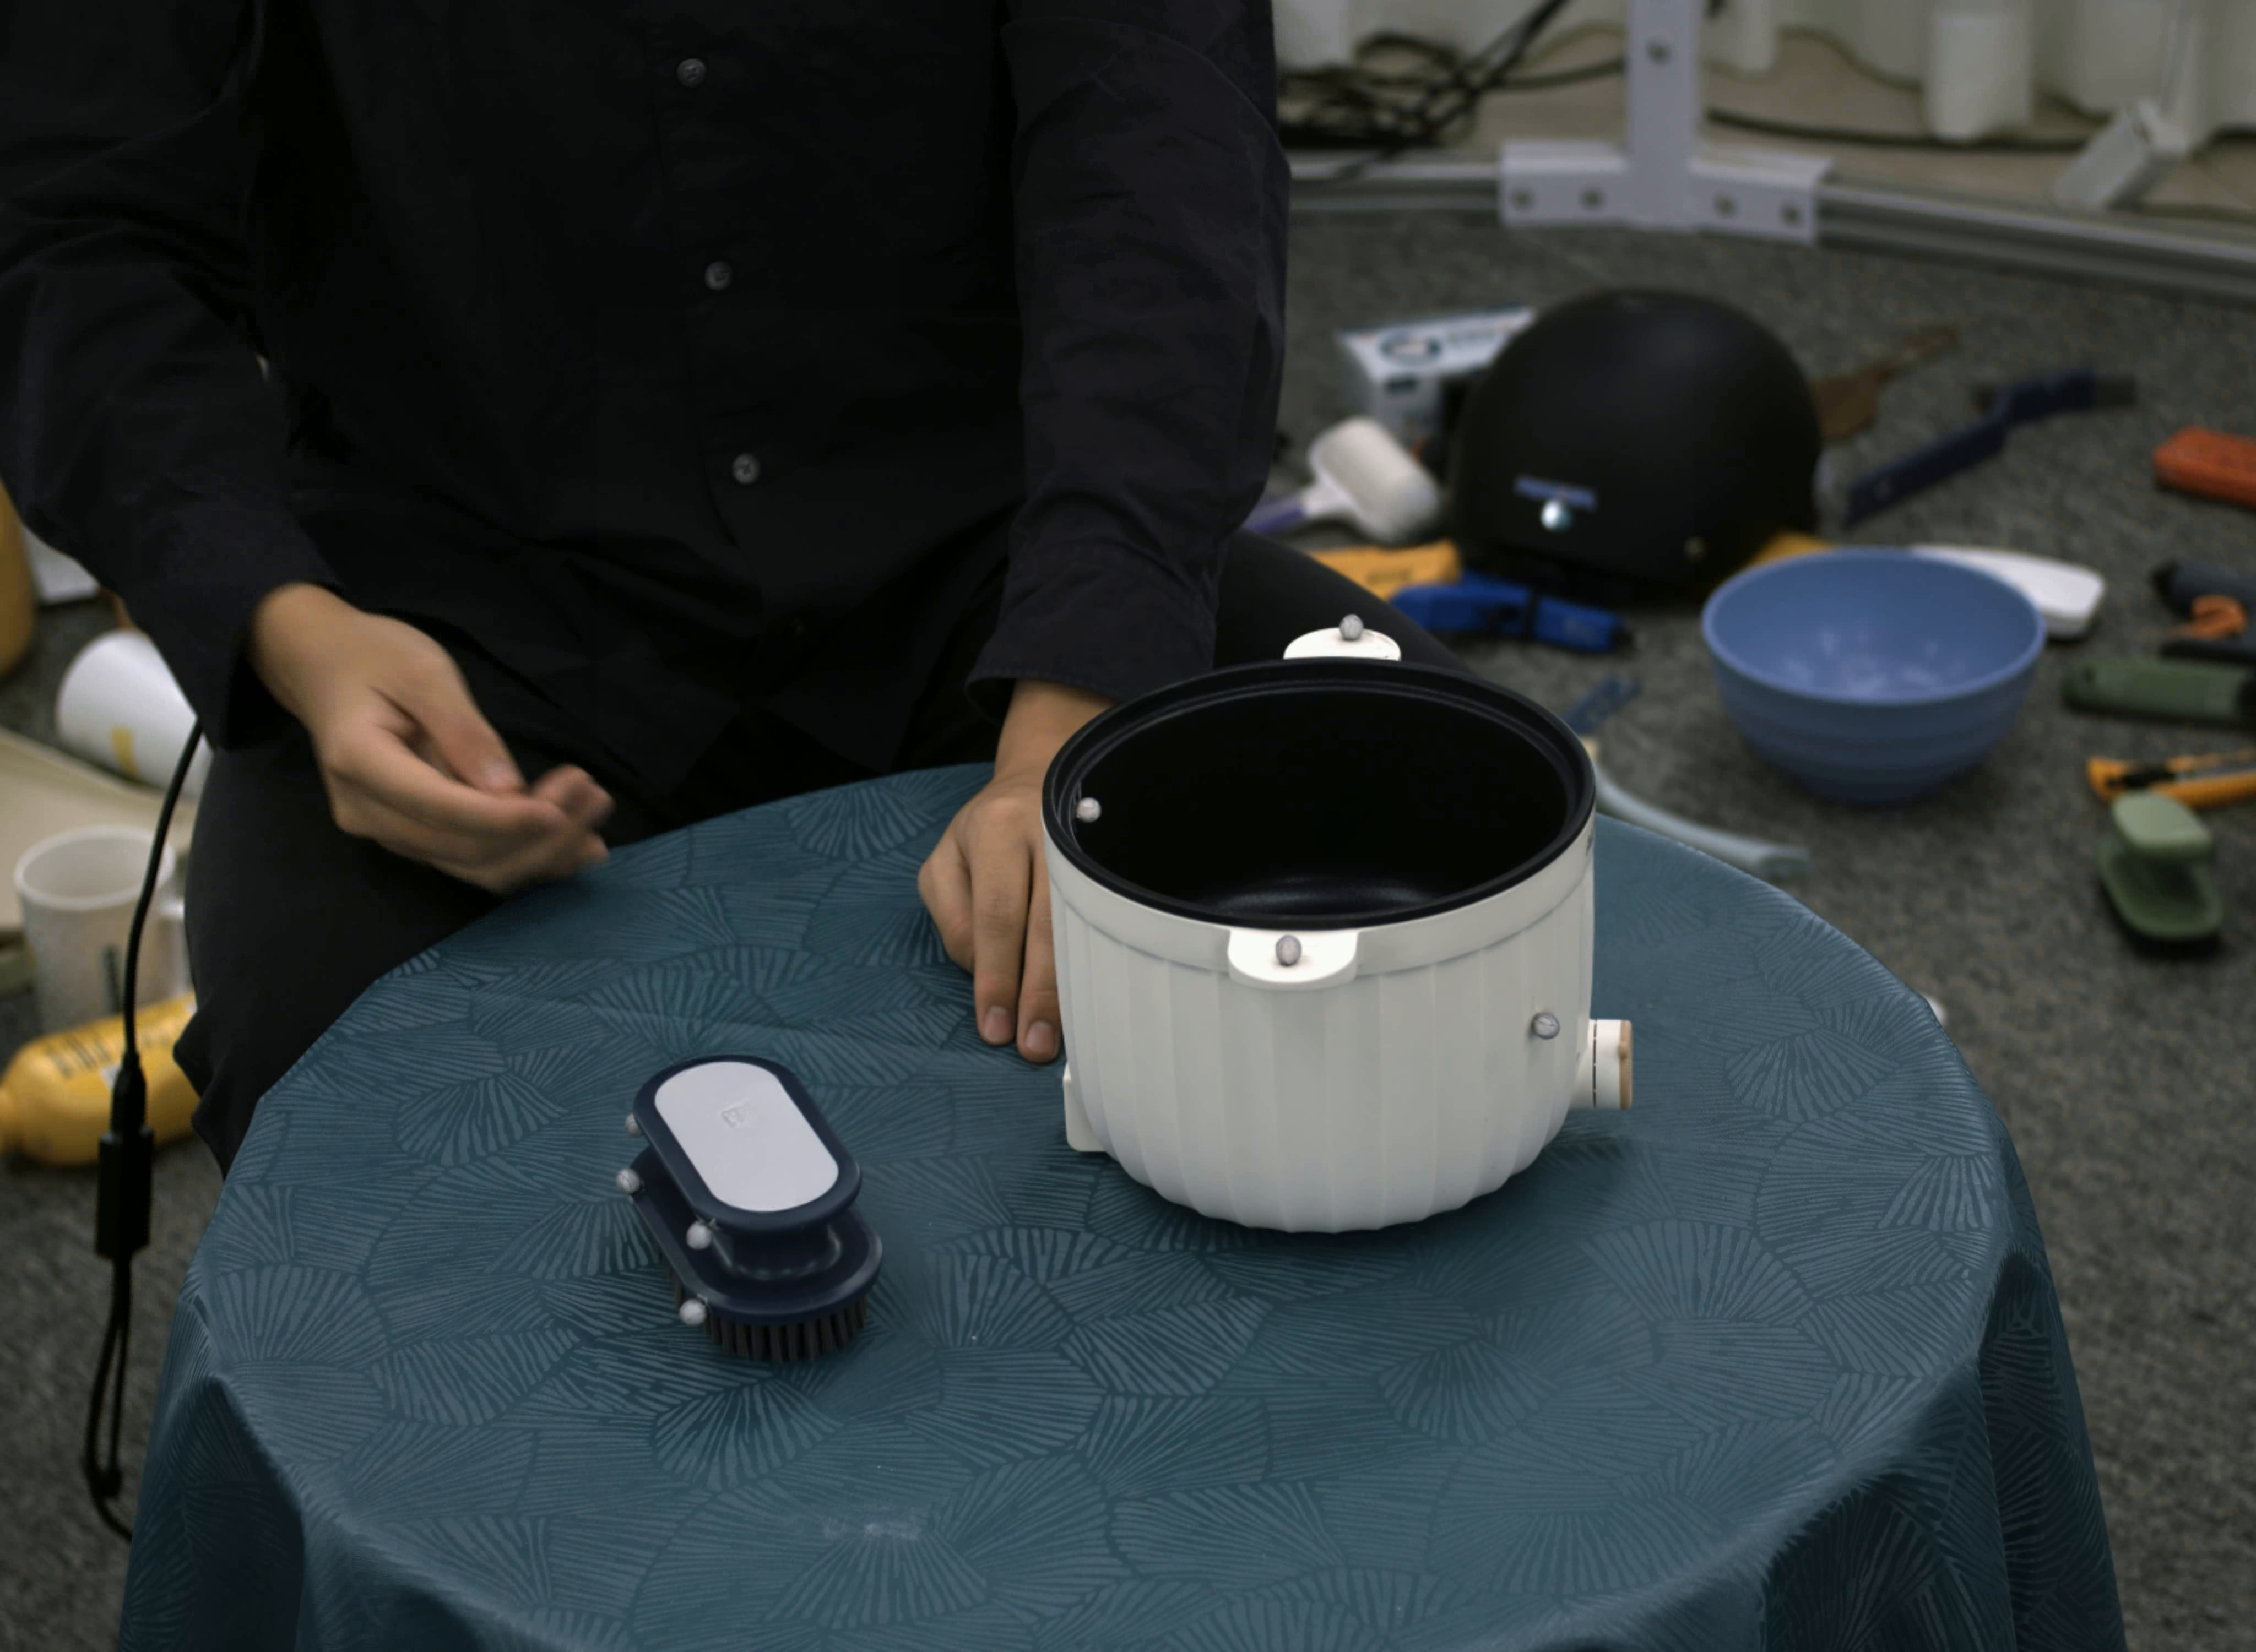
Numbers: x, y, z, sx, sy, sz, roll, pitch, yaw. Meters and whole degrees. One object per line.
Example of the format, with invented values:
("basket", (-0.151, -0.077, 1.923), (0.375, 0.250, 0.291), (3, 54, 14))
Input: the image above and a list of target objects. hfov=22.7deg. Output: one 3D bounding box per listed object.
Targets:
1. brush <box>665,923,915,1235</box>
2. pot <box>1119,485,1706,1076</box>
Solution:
("brush", (-0.111, 0.084, 1.836), (0.068, 0.060, 0.123), (-14, 33, -13))
("pot", (0.096, -0.007, 1.882), (0.189, 0.141, 0.244), (-2, 29, 7))
